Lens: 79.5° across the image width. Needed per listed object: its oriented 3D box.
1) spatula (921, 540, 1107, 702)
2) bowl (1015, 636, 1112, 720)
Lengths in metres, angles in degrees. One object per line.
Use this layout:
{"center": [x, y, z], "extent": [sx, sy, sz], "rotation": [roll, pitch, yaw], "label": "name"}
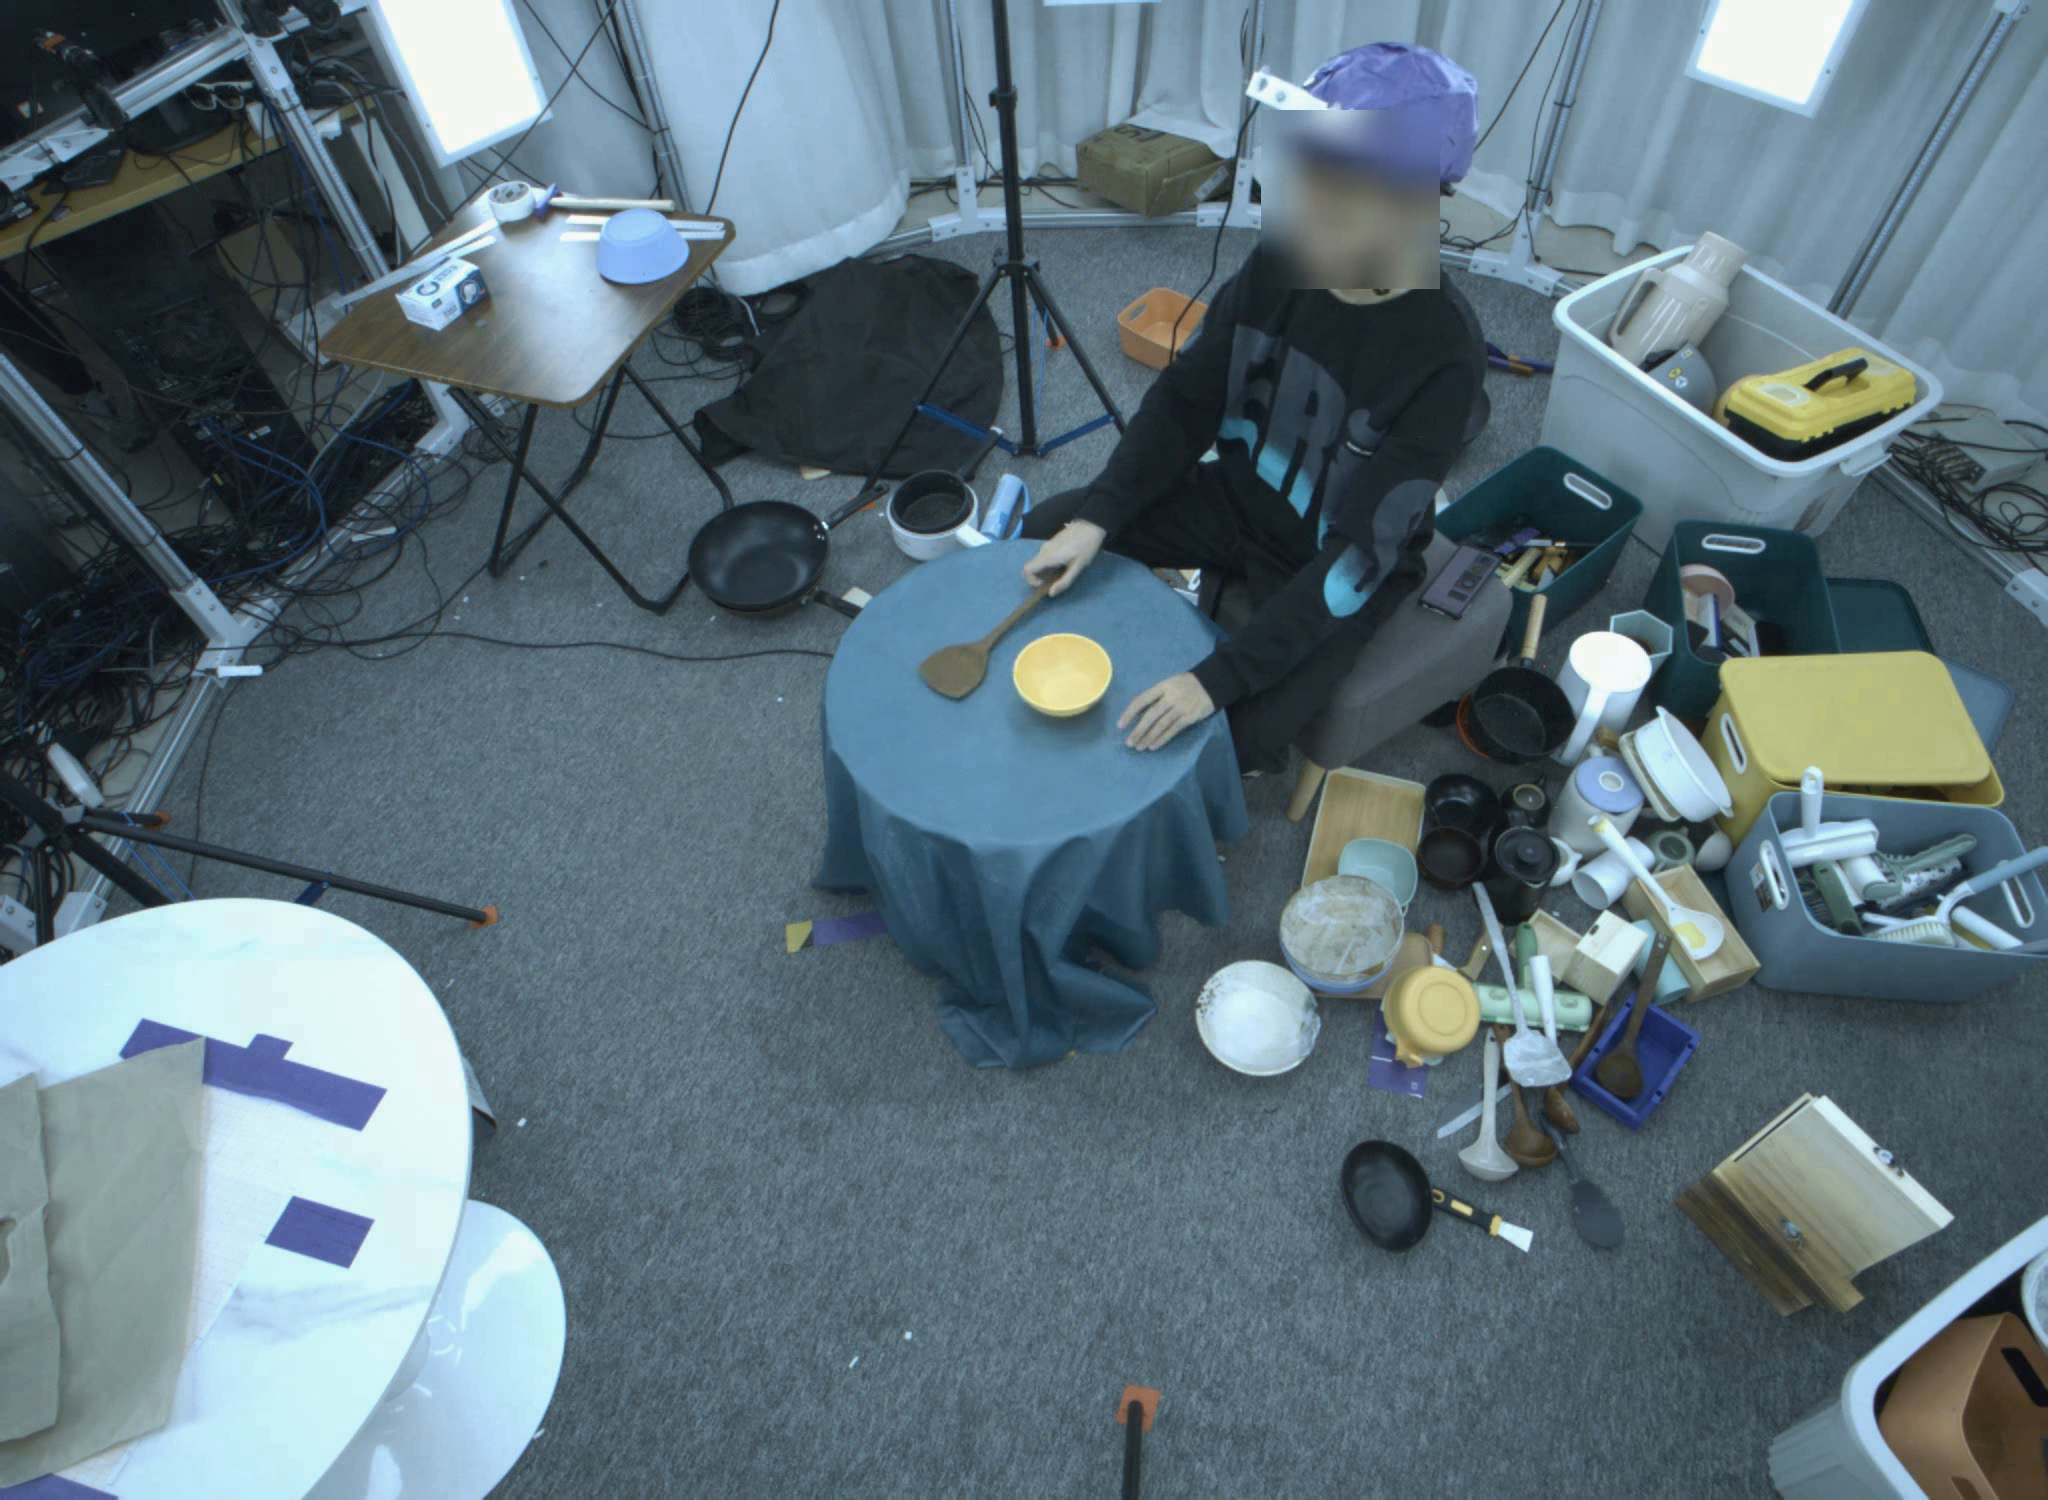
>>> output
{"center": [-0.003, -0.214, 1.925], "extent": [0.094, 0.016, 0.388], "rotation": [38, 69, 23], "label": "spatula"}
{"center": [0.058, -0.096, 1.830], "extent": [0.145, 0.060, 0.144], "rotation": [1, 57, 0], "label": "bowl"}
